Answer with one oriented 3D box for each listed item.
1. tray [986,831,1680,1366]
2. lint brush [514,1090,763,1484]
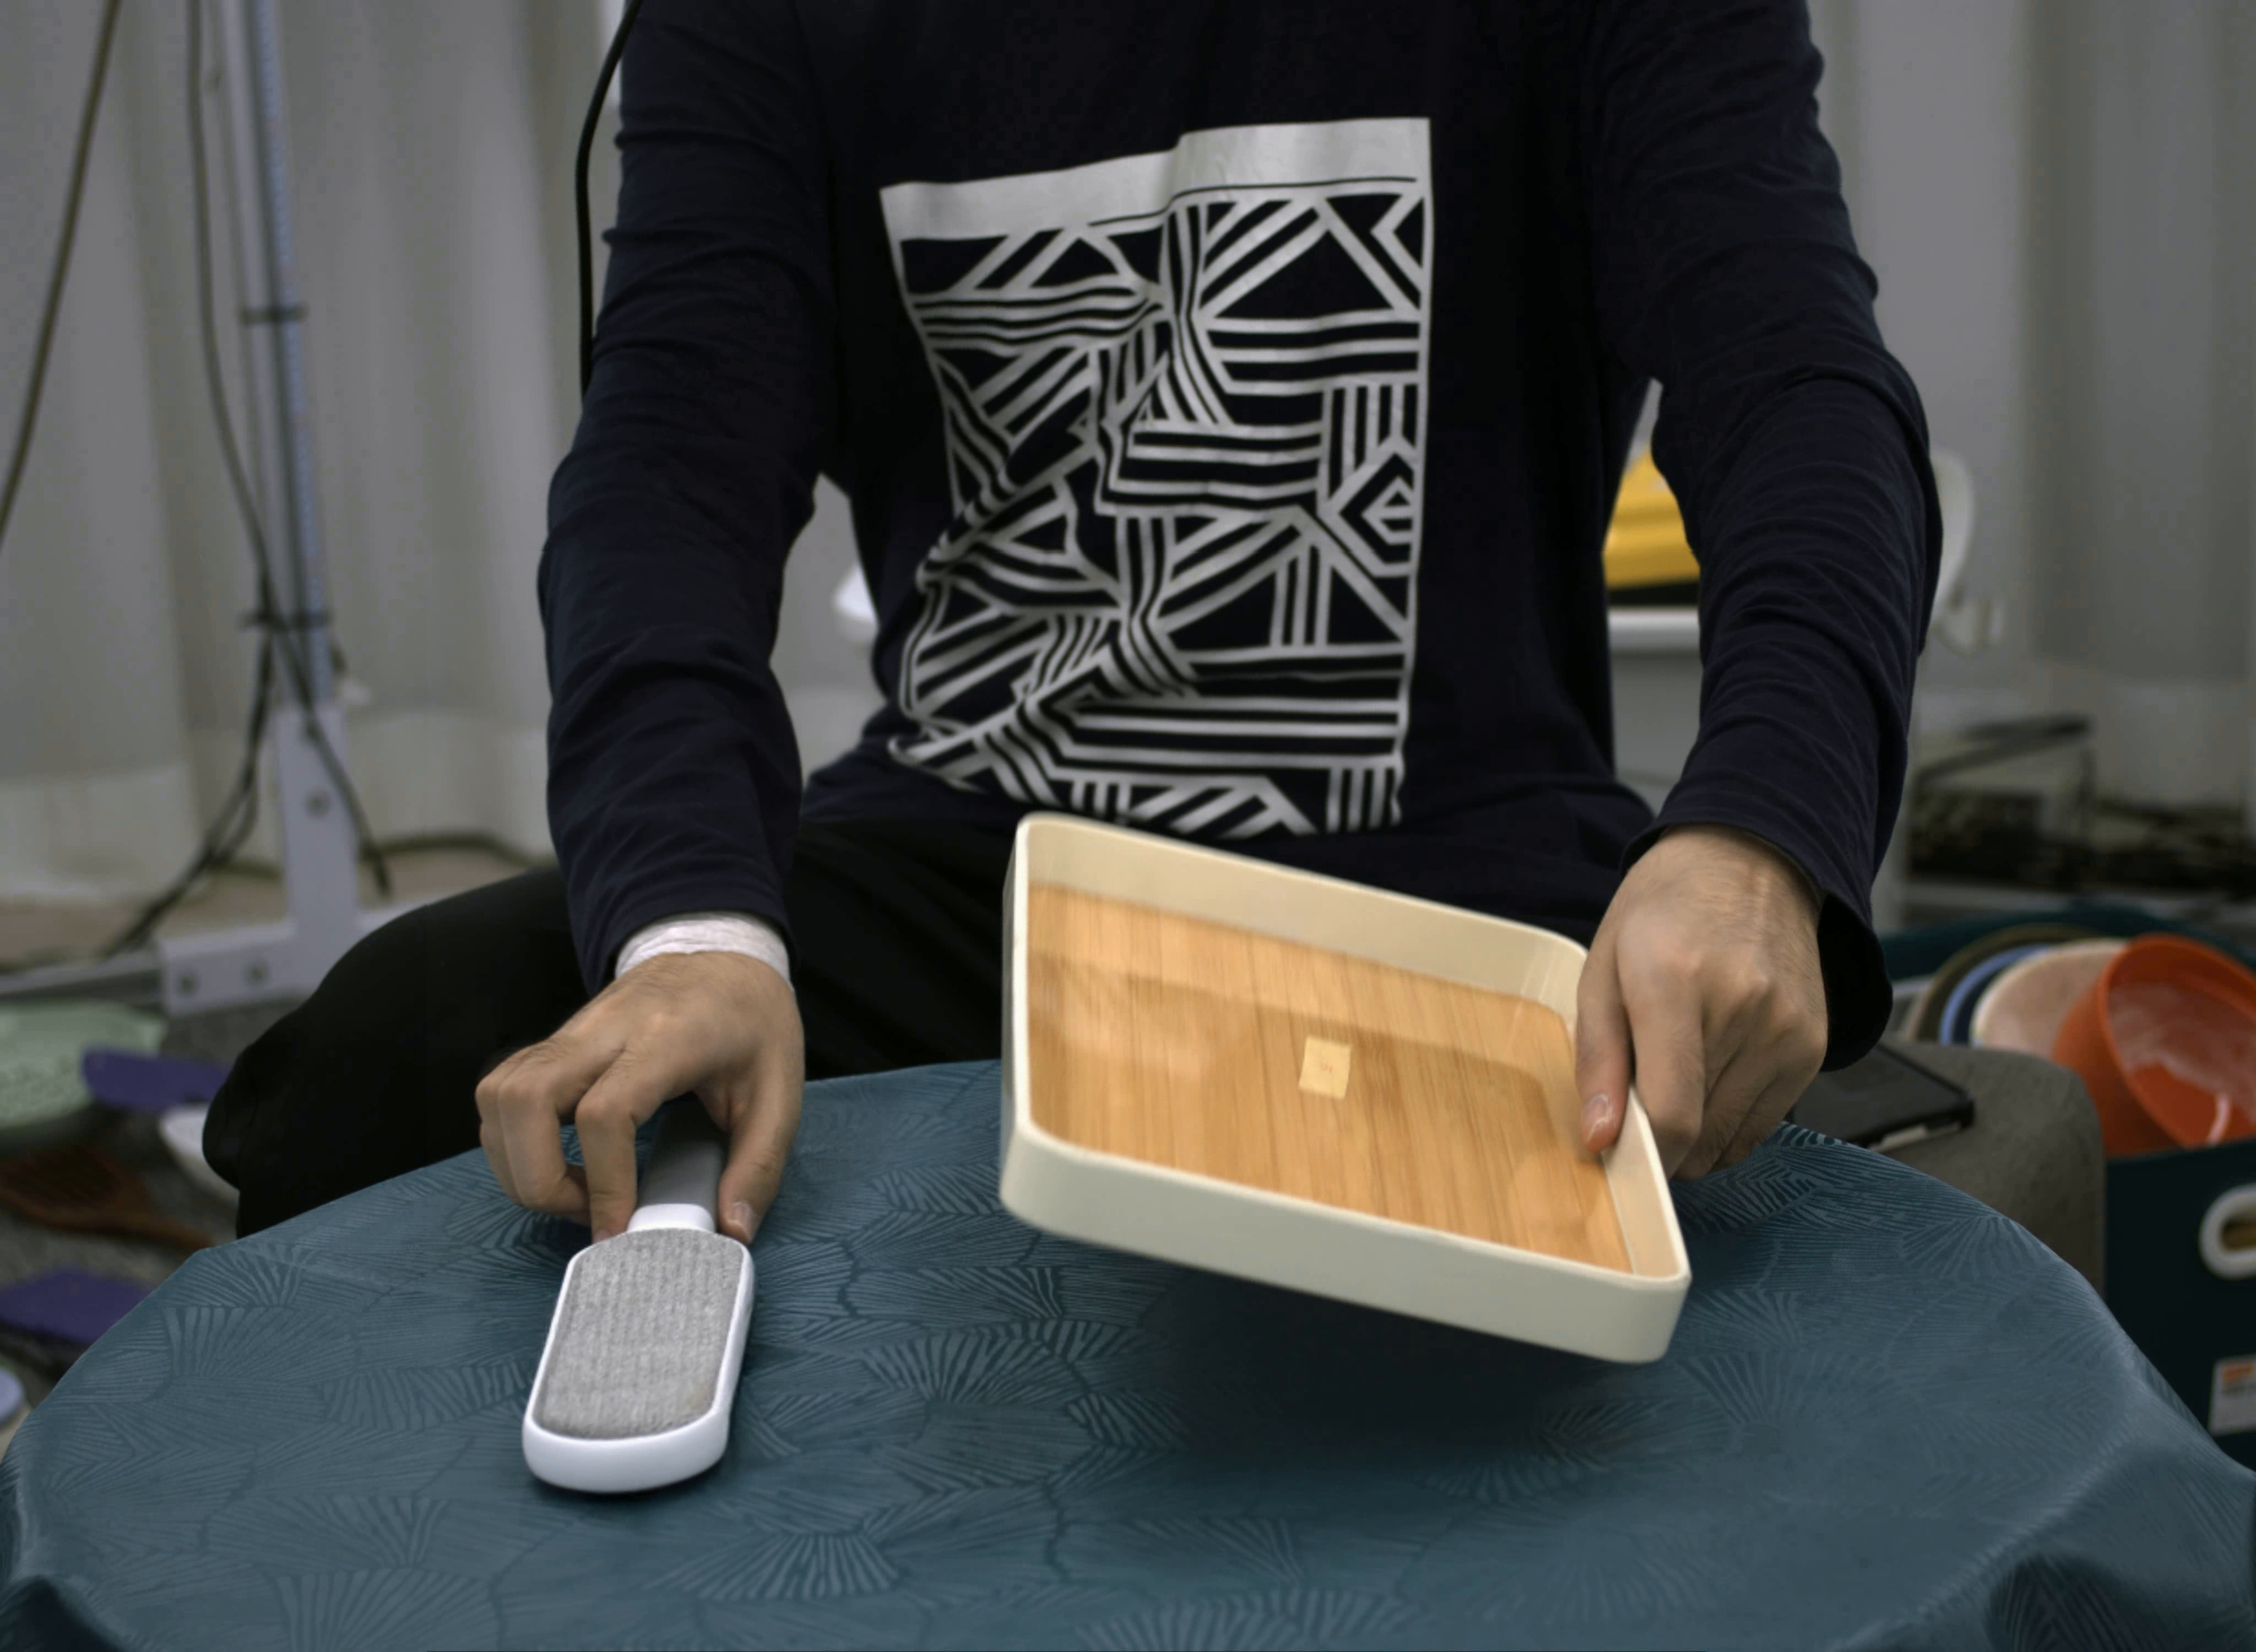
[{"bbox_3d":[0.054,0.074,1.601,0.191,0.027,0.302,14,15,-4],"label":"tray"},{"bbox_3d":[-0.137,0.132,1.624,0.060,0.021,0.311,-8,15,3],"label":"lint brush"}]
